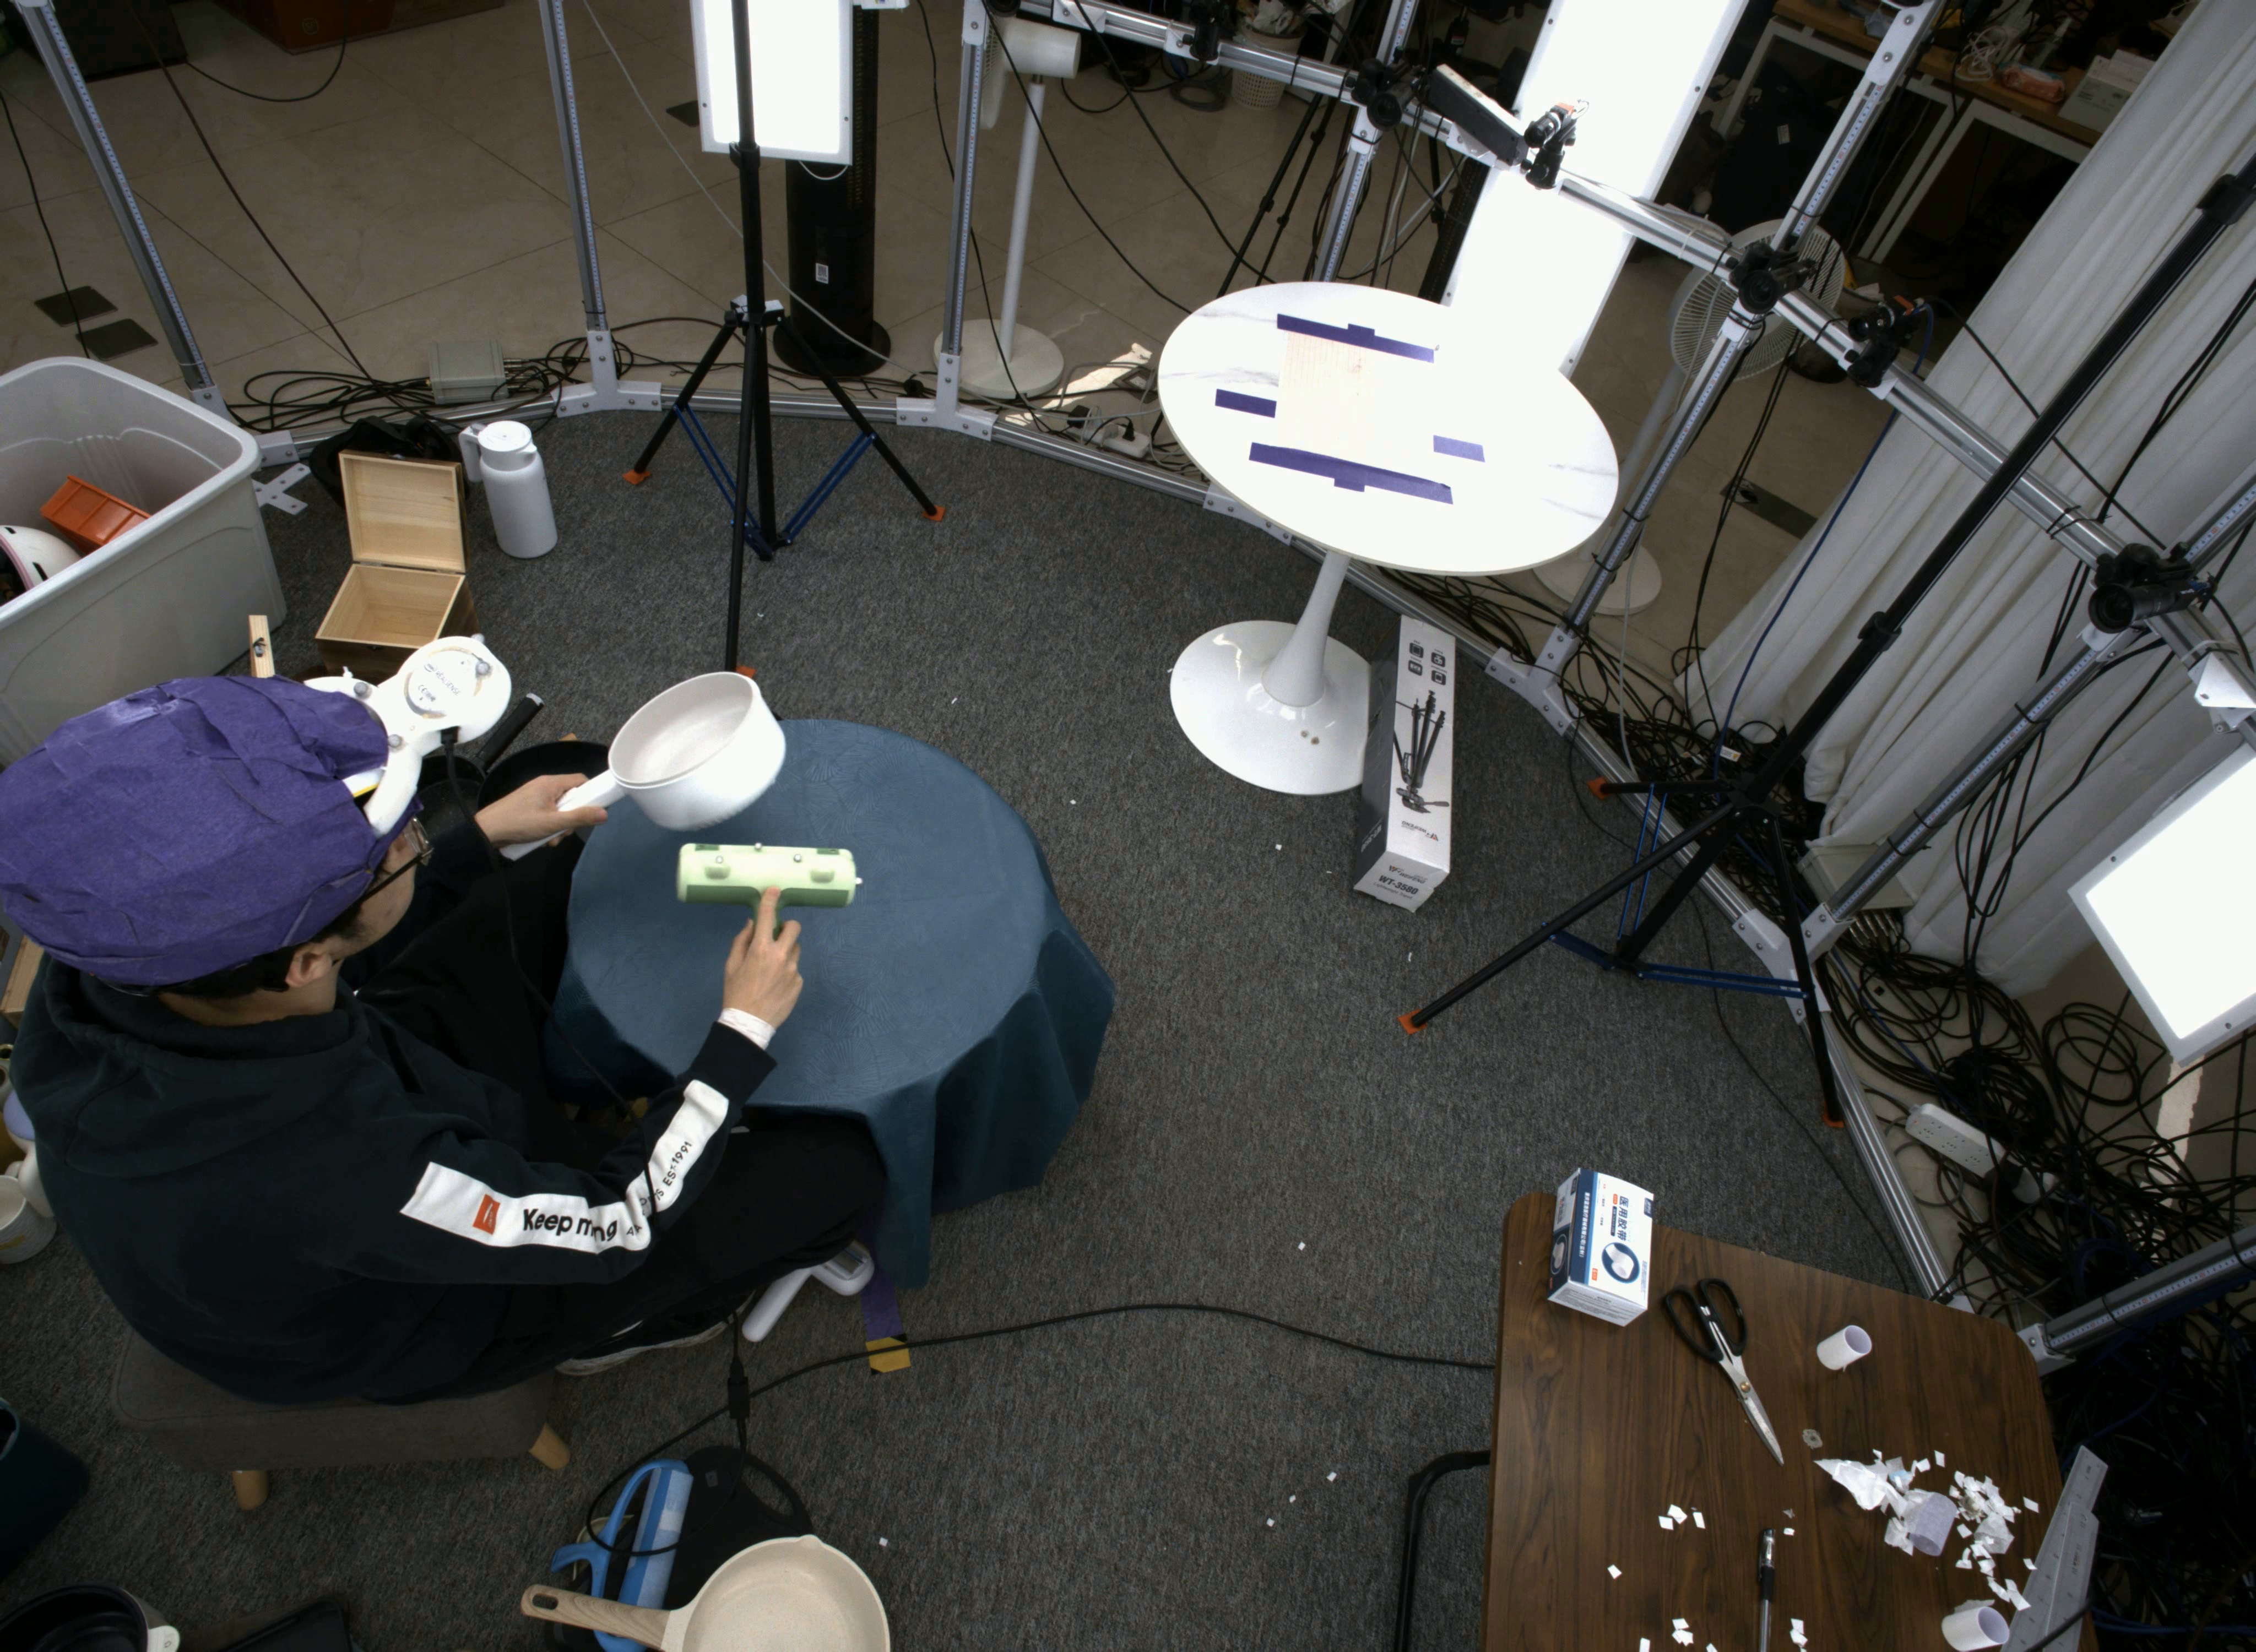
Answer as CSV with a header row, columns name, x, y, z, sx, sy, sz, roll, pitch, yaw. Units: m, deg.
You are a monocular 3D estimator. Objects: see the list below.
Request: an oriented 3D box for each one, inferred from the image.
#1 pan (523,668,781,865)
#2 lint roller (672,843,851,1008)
name,x,y,z,sx,sy,sz,roll,pitch,yaw
pan,-0.584,-0.047,1.549,0.354,0.106,0.194,-34,42,-9
lint roller,-0.405,0.102,1.442,0.201,0.082,0.180,3,60,-25
